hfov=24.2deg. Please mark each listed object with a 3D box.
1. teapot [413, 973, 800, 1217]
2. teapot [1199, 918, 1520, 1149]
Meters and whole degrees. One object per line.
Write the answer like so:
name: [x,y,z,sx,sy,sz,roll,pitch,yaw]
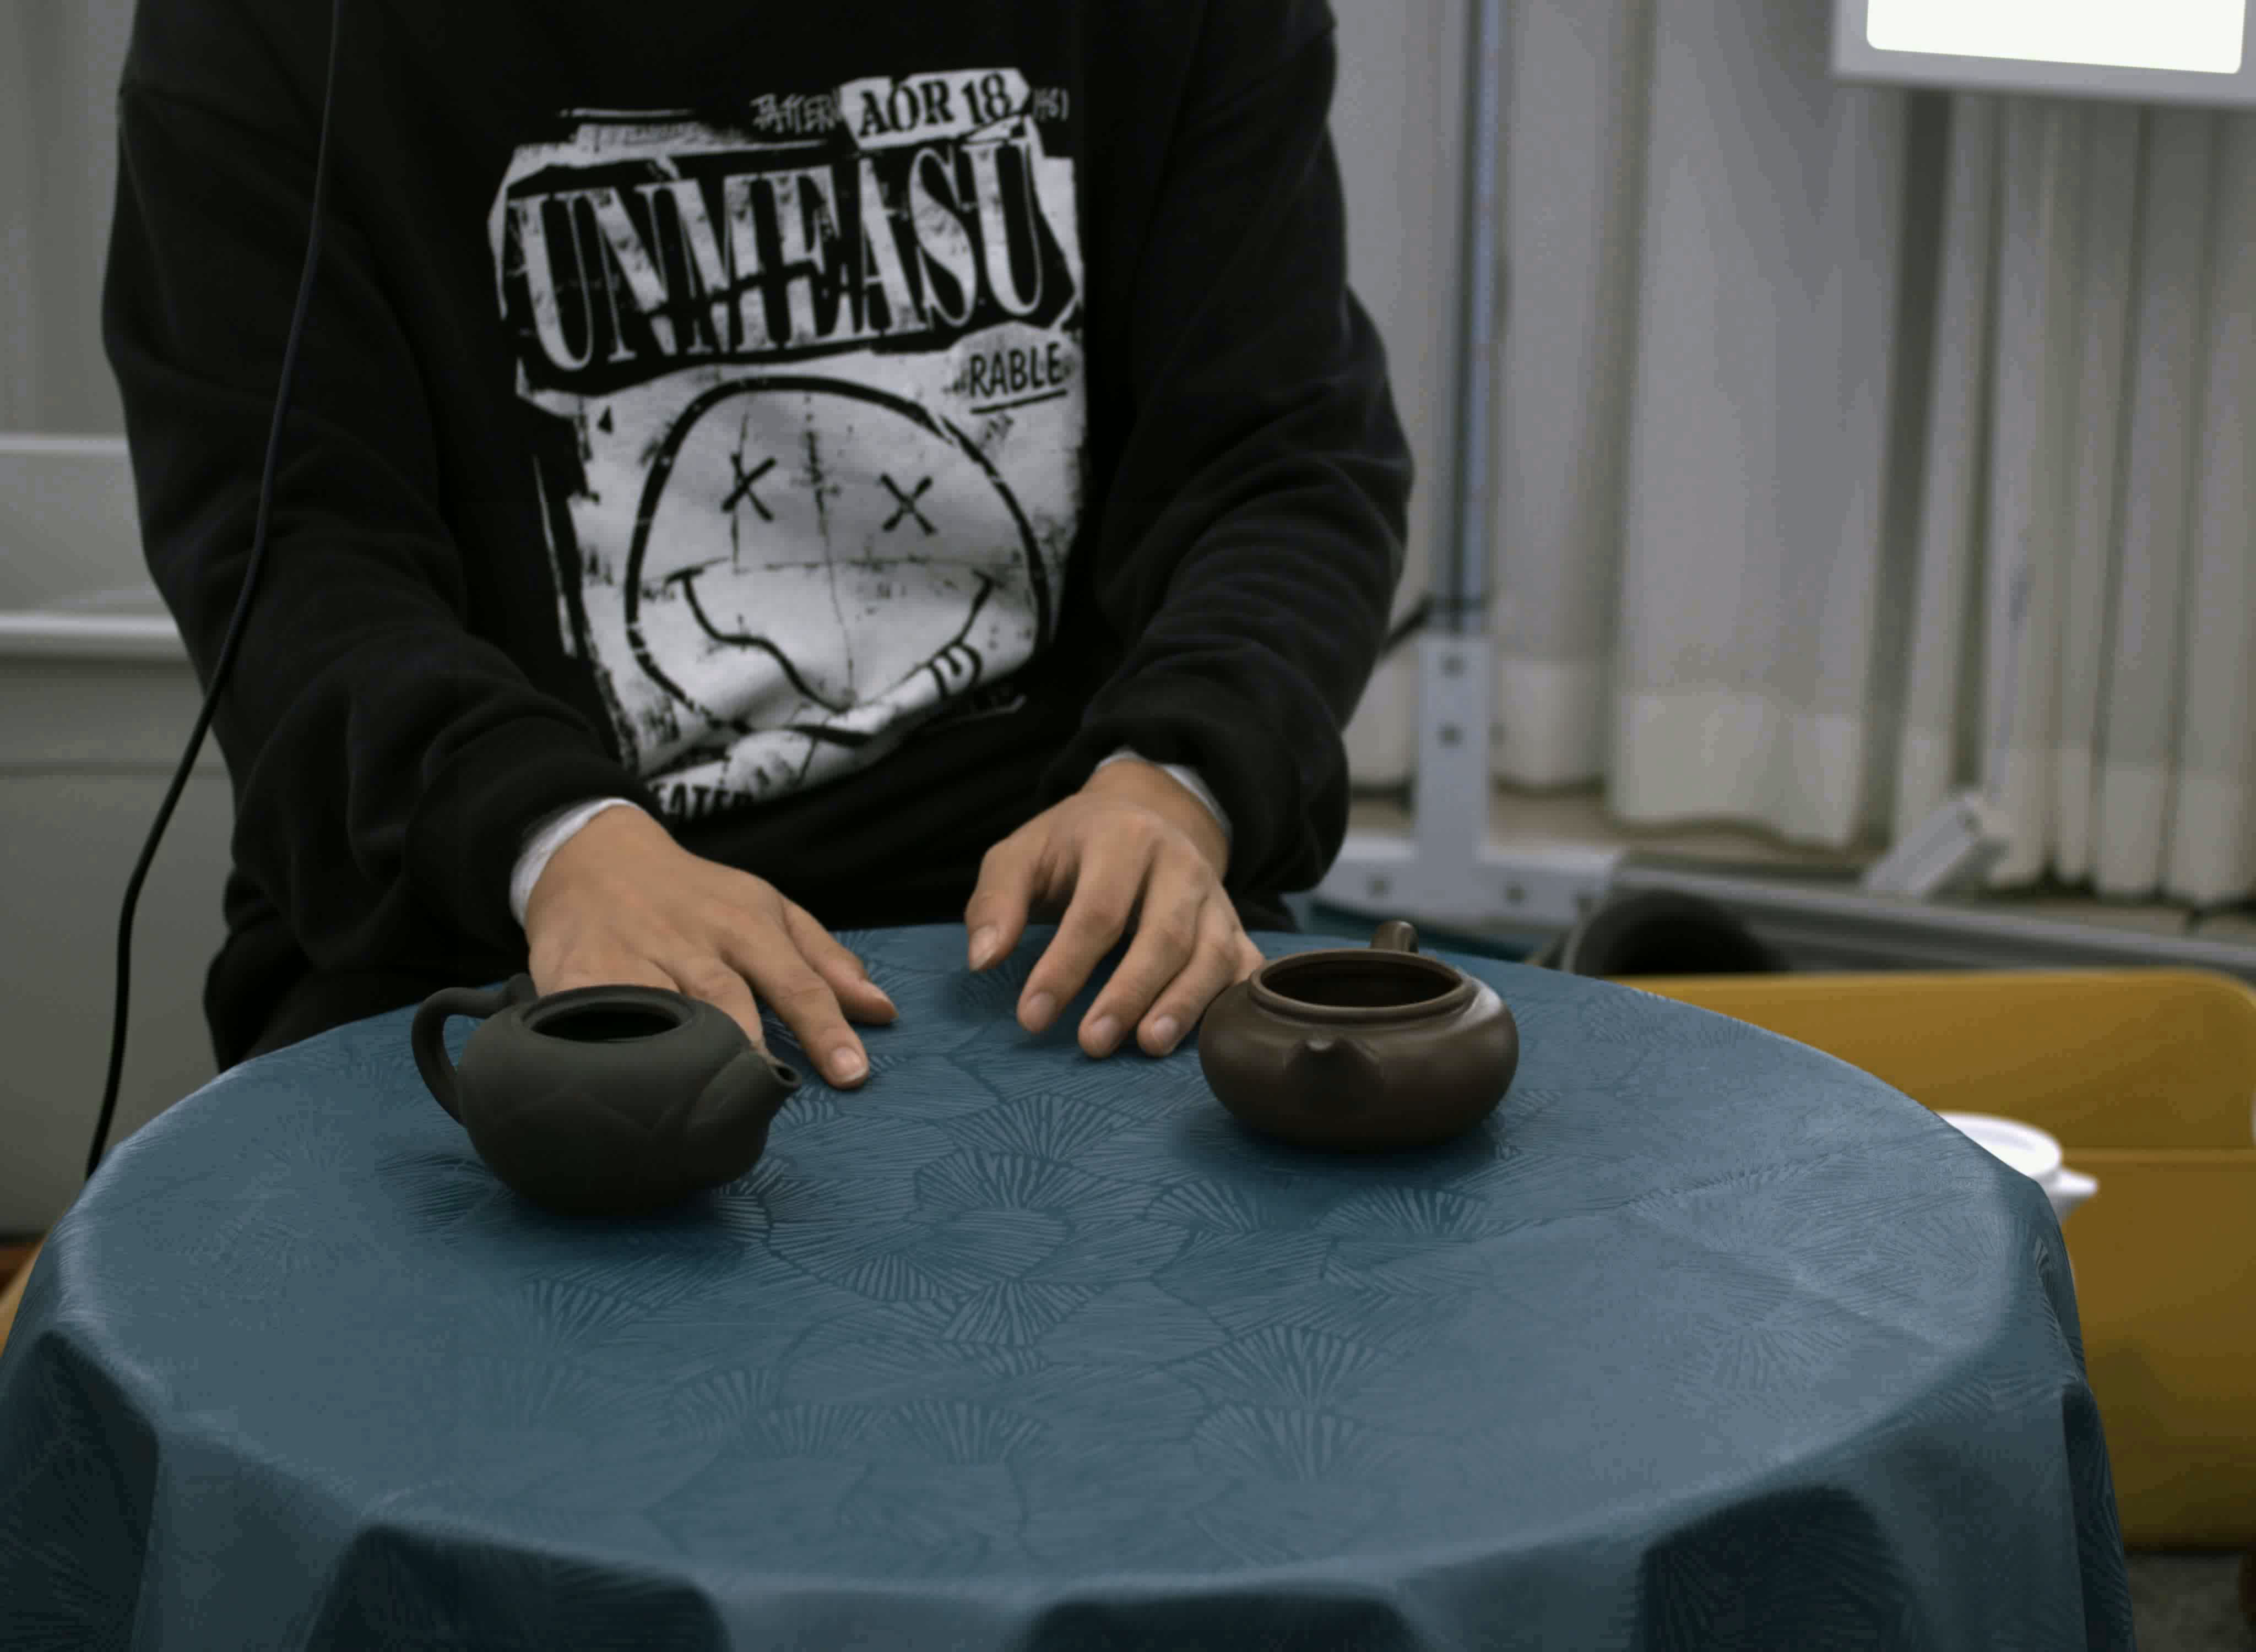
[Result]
teapot: [-0.161,0.082,1.609,0.152,0.065,0.093,12,17,34]
teapot: [0.074,0.067,1.684,0.102,0.054,0.153,4,16,5]
